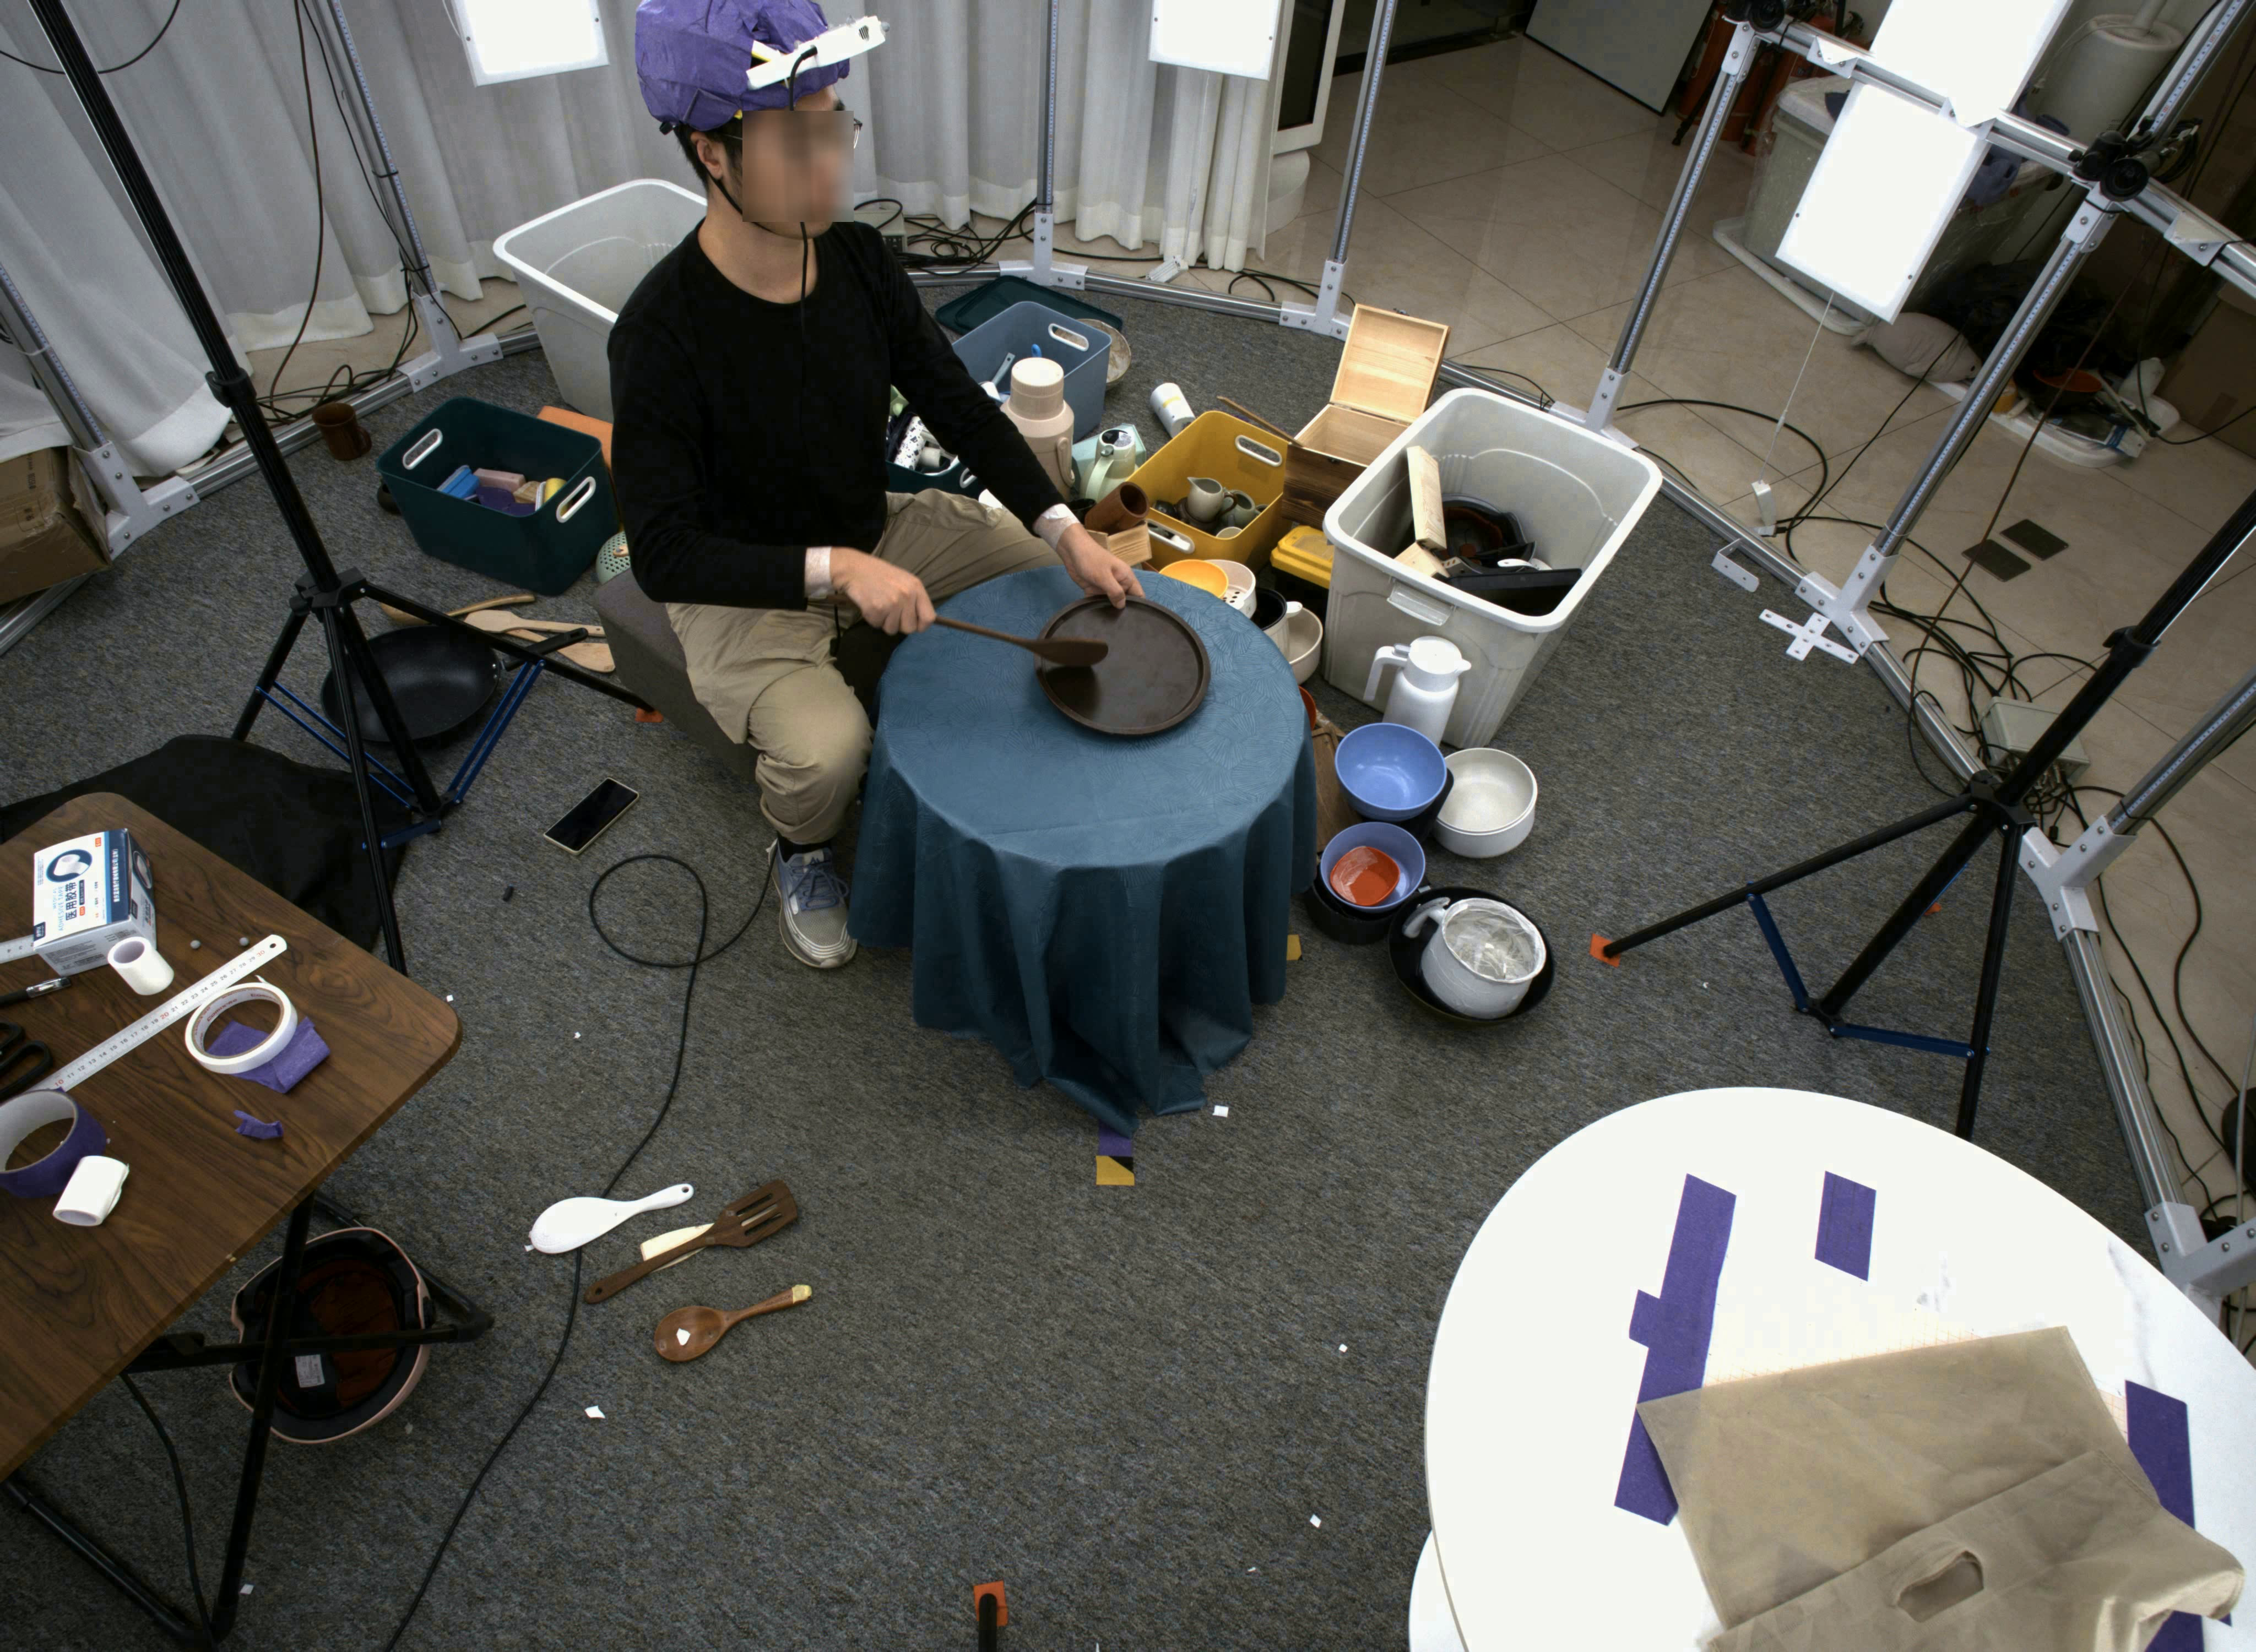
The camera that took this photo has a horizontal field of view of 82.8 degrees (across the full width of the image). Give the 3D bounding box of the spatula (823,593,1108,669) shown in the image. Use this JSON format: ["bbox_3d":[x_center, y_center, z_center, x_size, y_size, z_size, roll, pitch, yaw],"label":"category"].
[{"bbox_3d":[-0.215,-0.265,1.741,0.384,0.095,0.016,11,73,-12],"label":"spatula"}]

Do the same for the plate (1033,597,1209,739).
[{"bbox_3d":[-0.010,-0.227,1.831,0.254,0.028,0.261,4,57,-7],"label":"plate"}]
